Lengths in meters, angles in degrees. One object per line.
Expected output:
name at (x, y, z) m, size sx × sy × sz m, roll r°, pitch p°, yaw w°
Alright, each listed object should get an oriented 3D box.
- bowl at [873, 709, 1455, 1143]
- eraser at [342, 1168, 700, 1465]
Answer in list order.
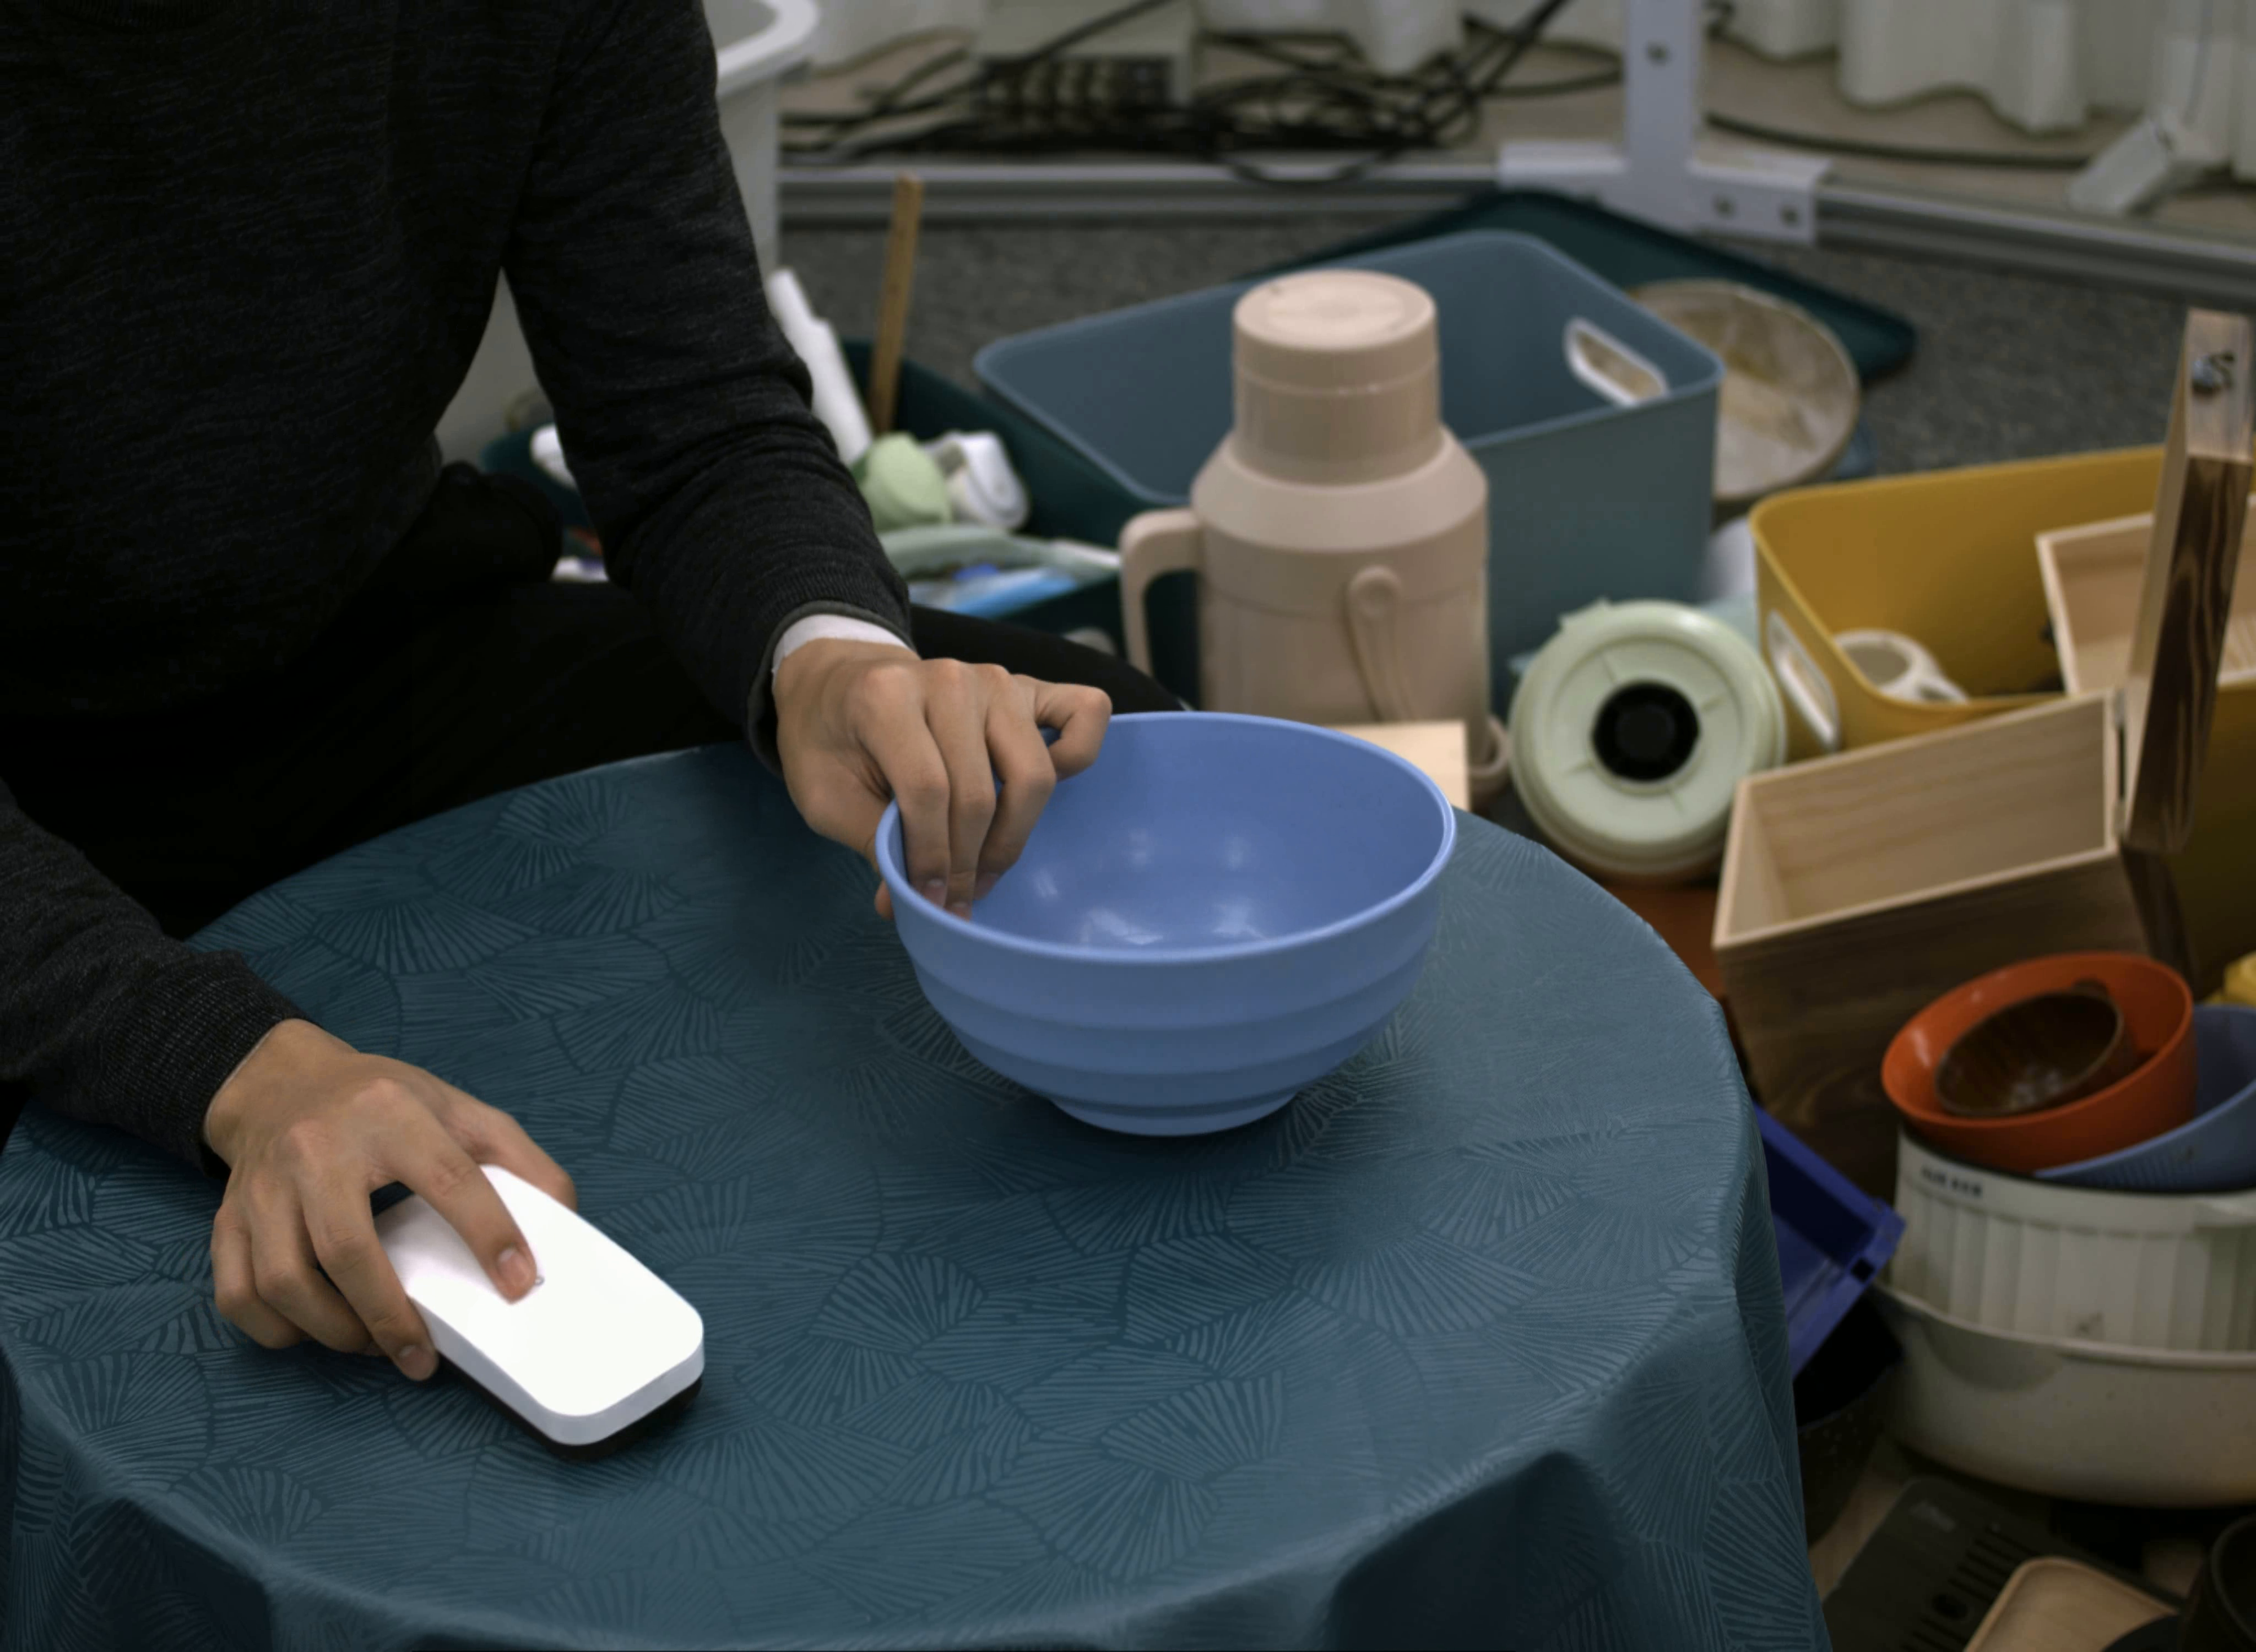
bowl at (0.014, 0.044, 1.905) m, size 0.195 × 0.094 × 0.199 m, roll -1°, pitch 26°, yaw 1°
eraser at (-0.191, 0.152, 1.776) m, size 0.064 × 0.034 × 0.131 m, roll -26°, pitch 41°, yaw -31°
